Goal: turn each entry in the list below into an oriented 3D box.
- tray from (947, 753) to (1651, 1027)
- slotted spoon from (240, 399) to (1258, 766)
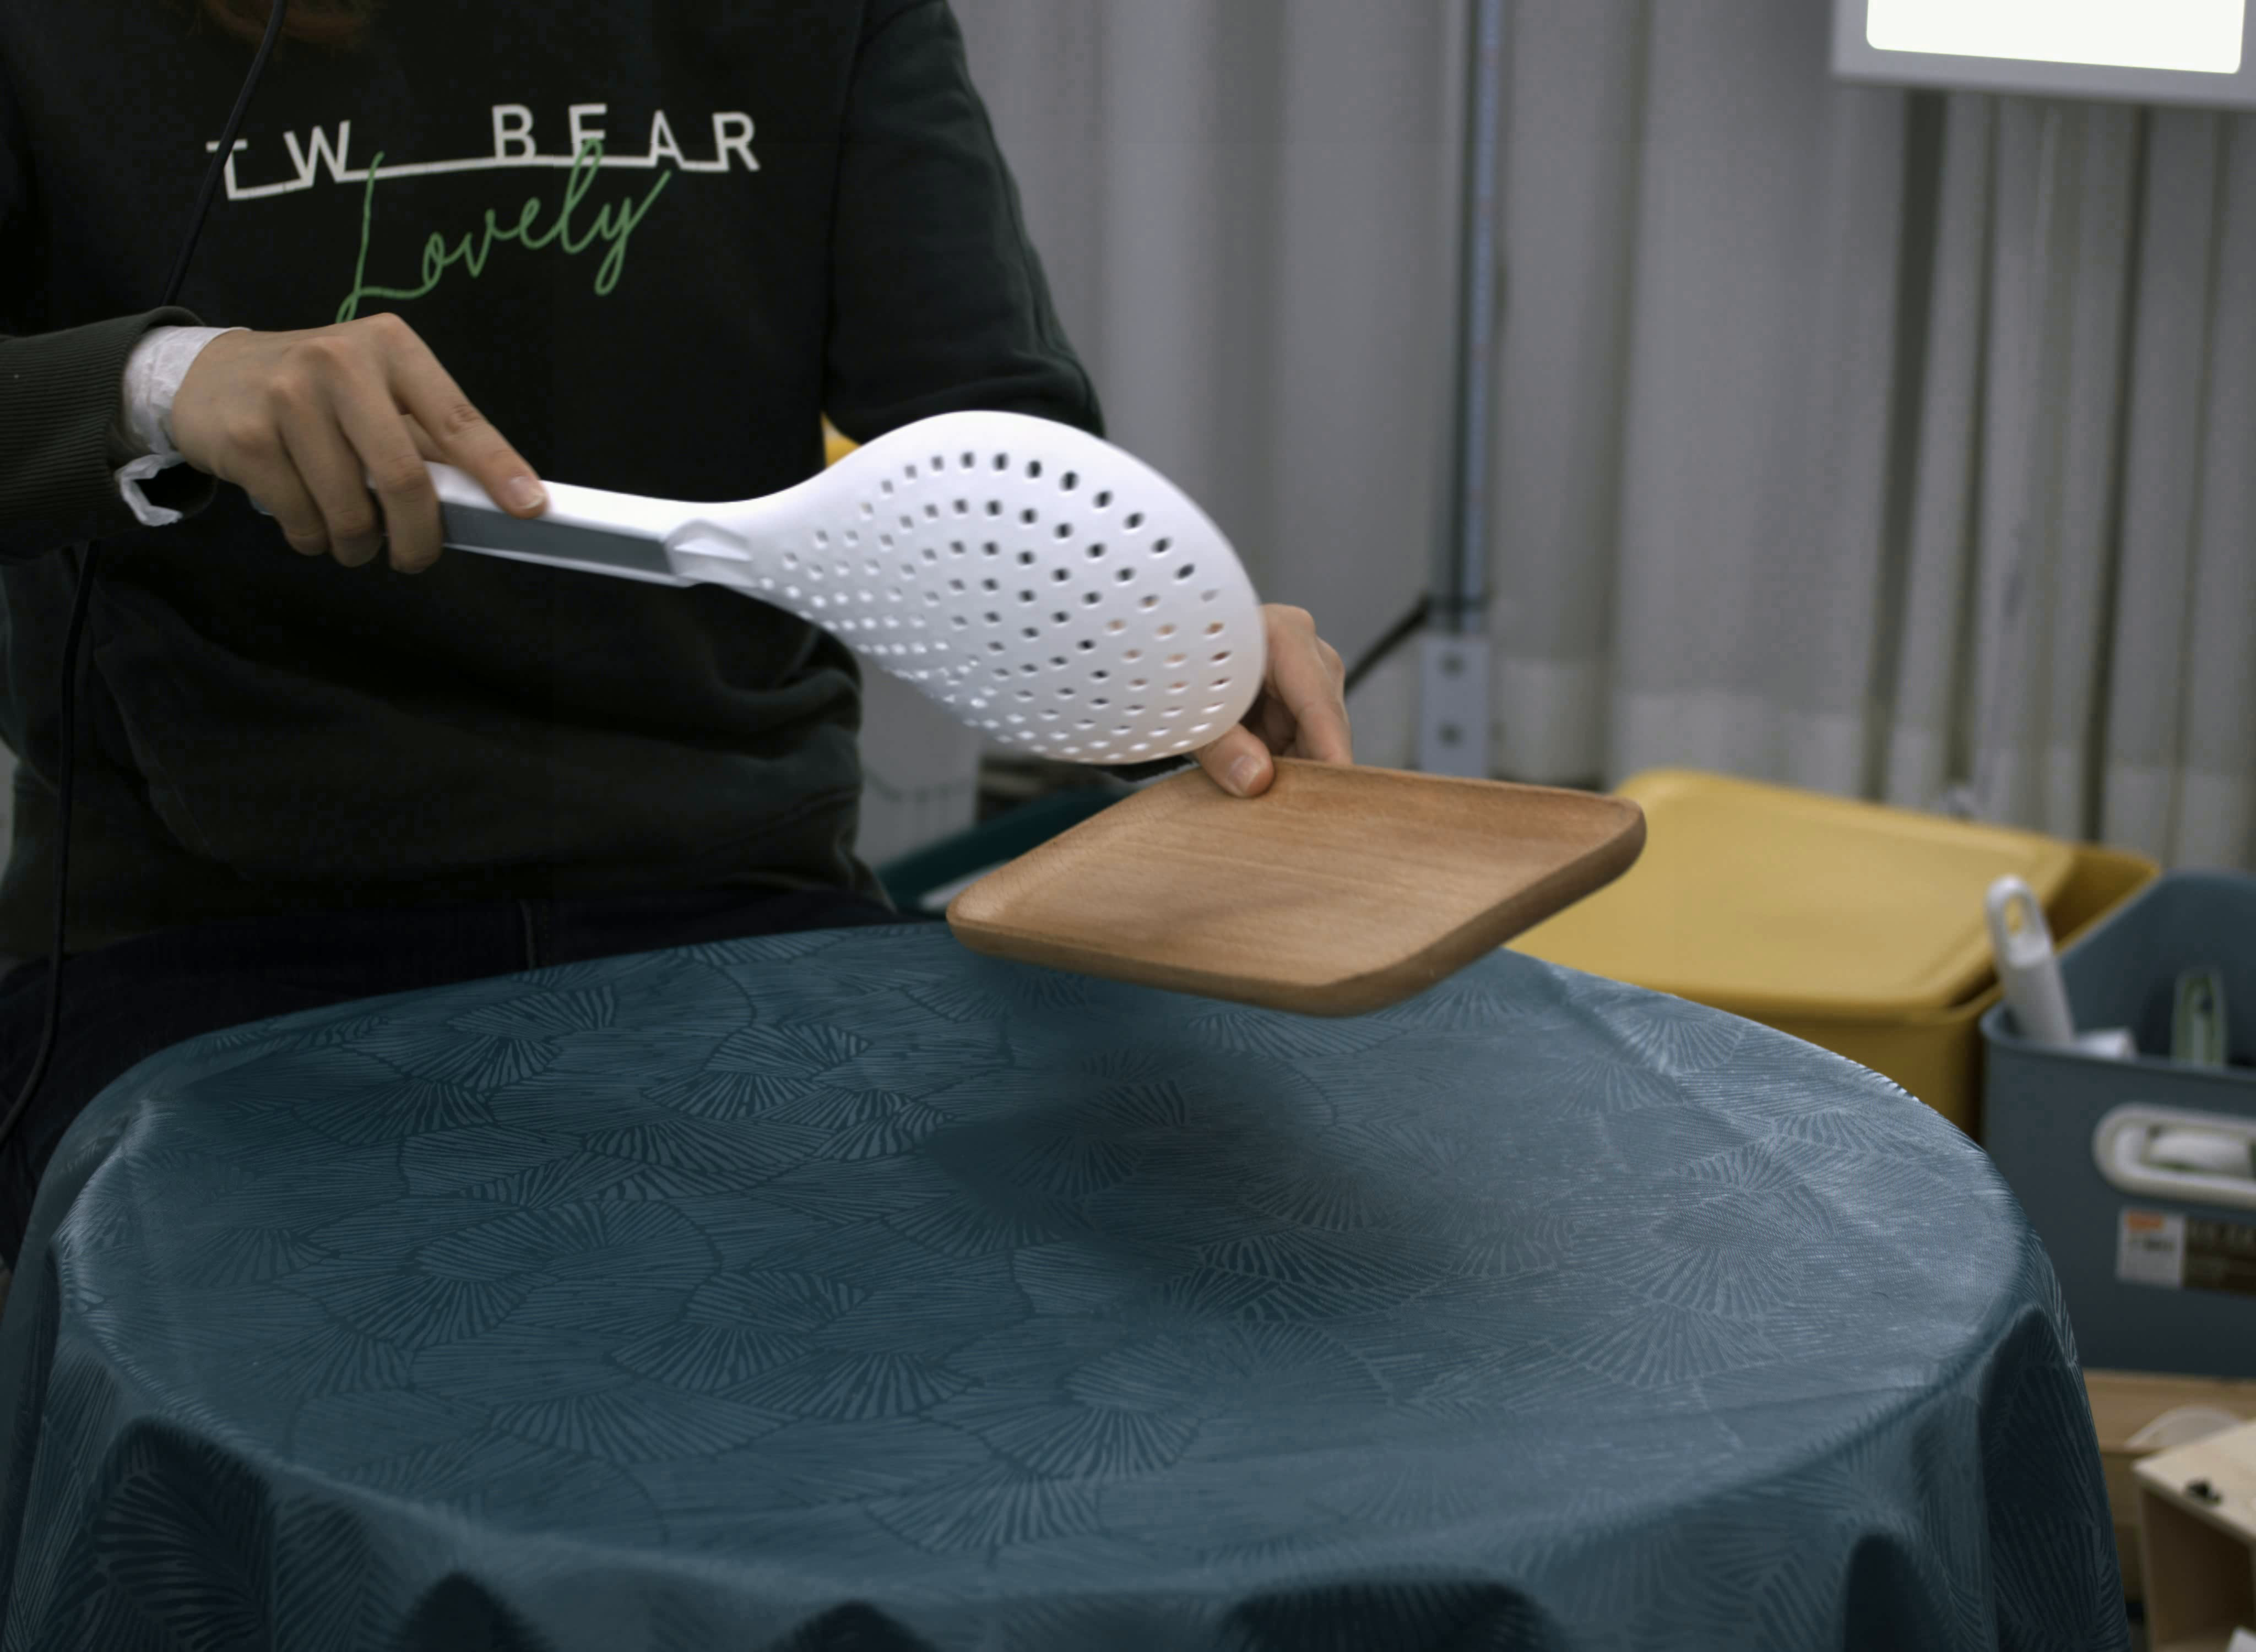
[{"bbox_3d":[0.049,0.018,1.606,0.131,0.023,0.248,-26,17,-27],"label":"tray"},{"bbox_3d":[-0.123,-0.085,1.603,0.345,0.138,0.045,14,48,27],"label":"slotted spoon"}]
